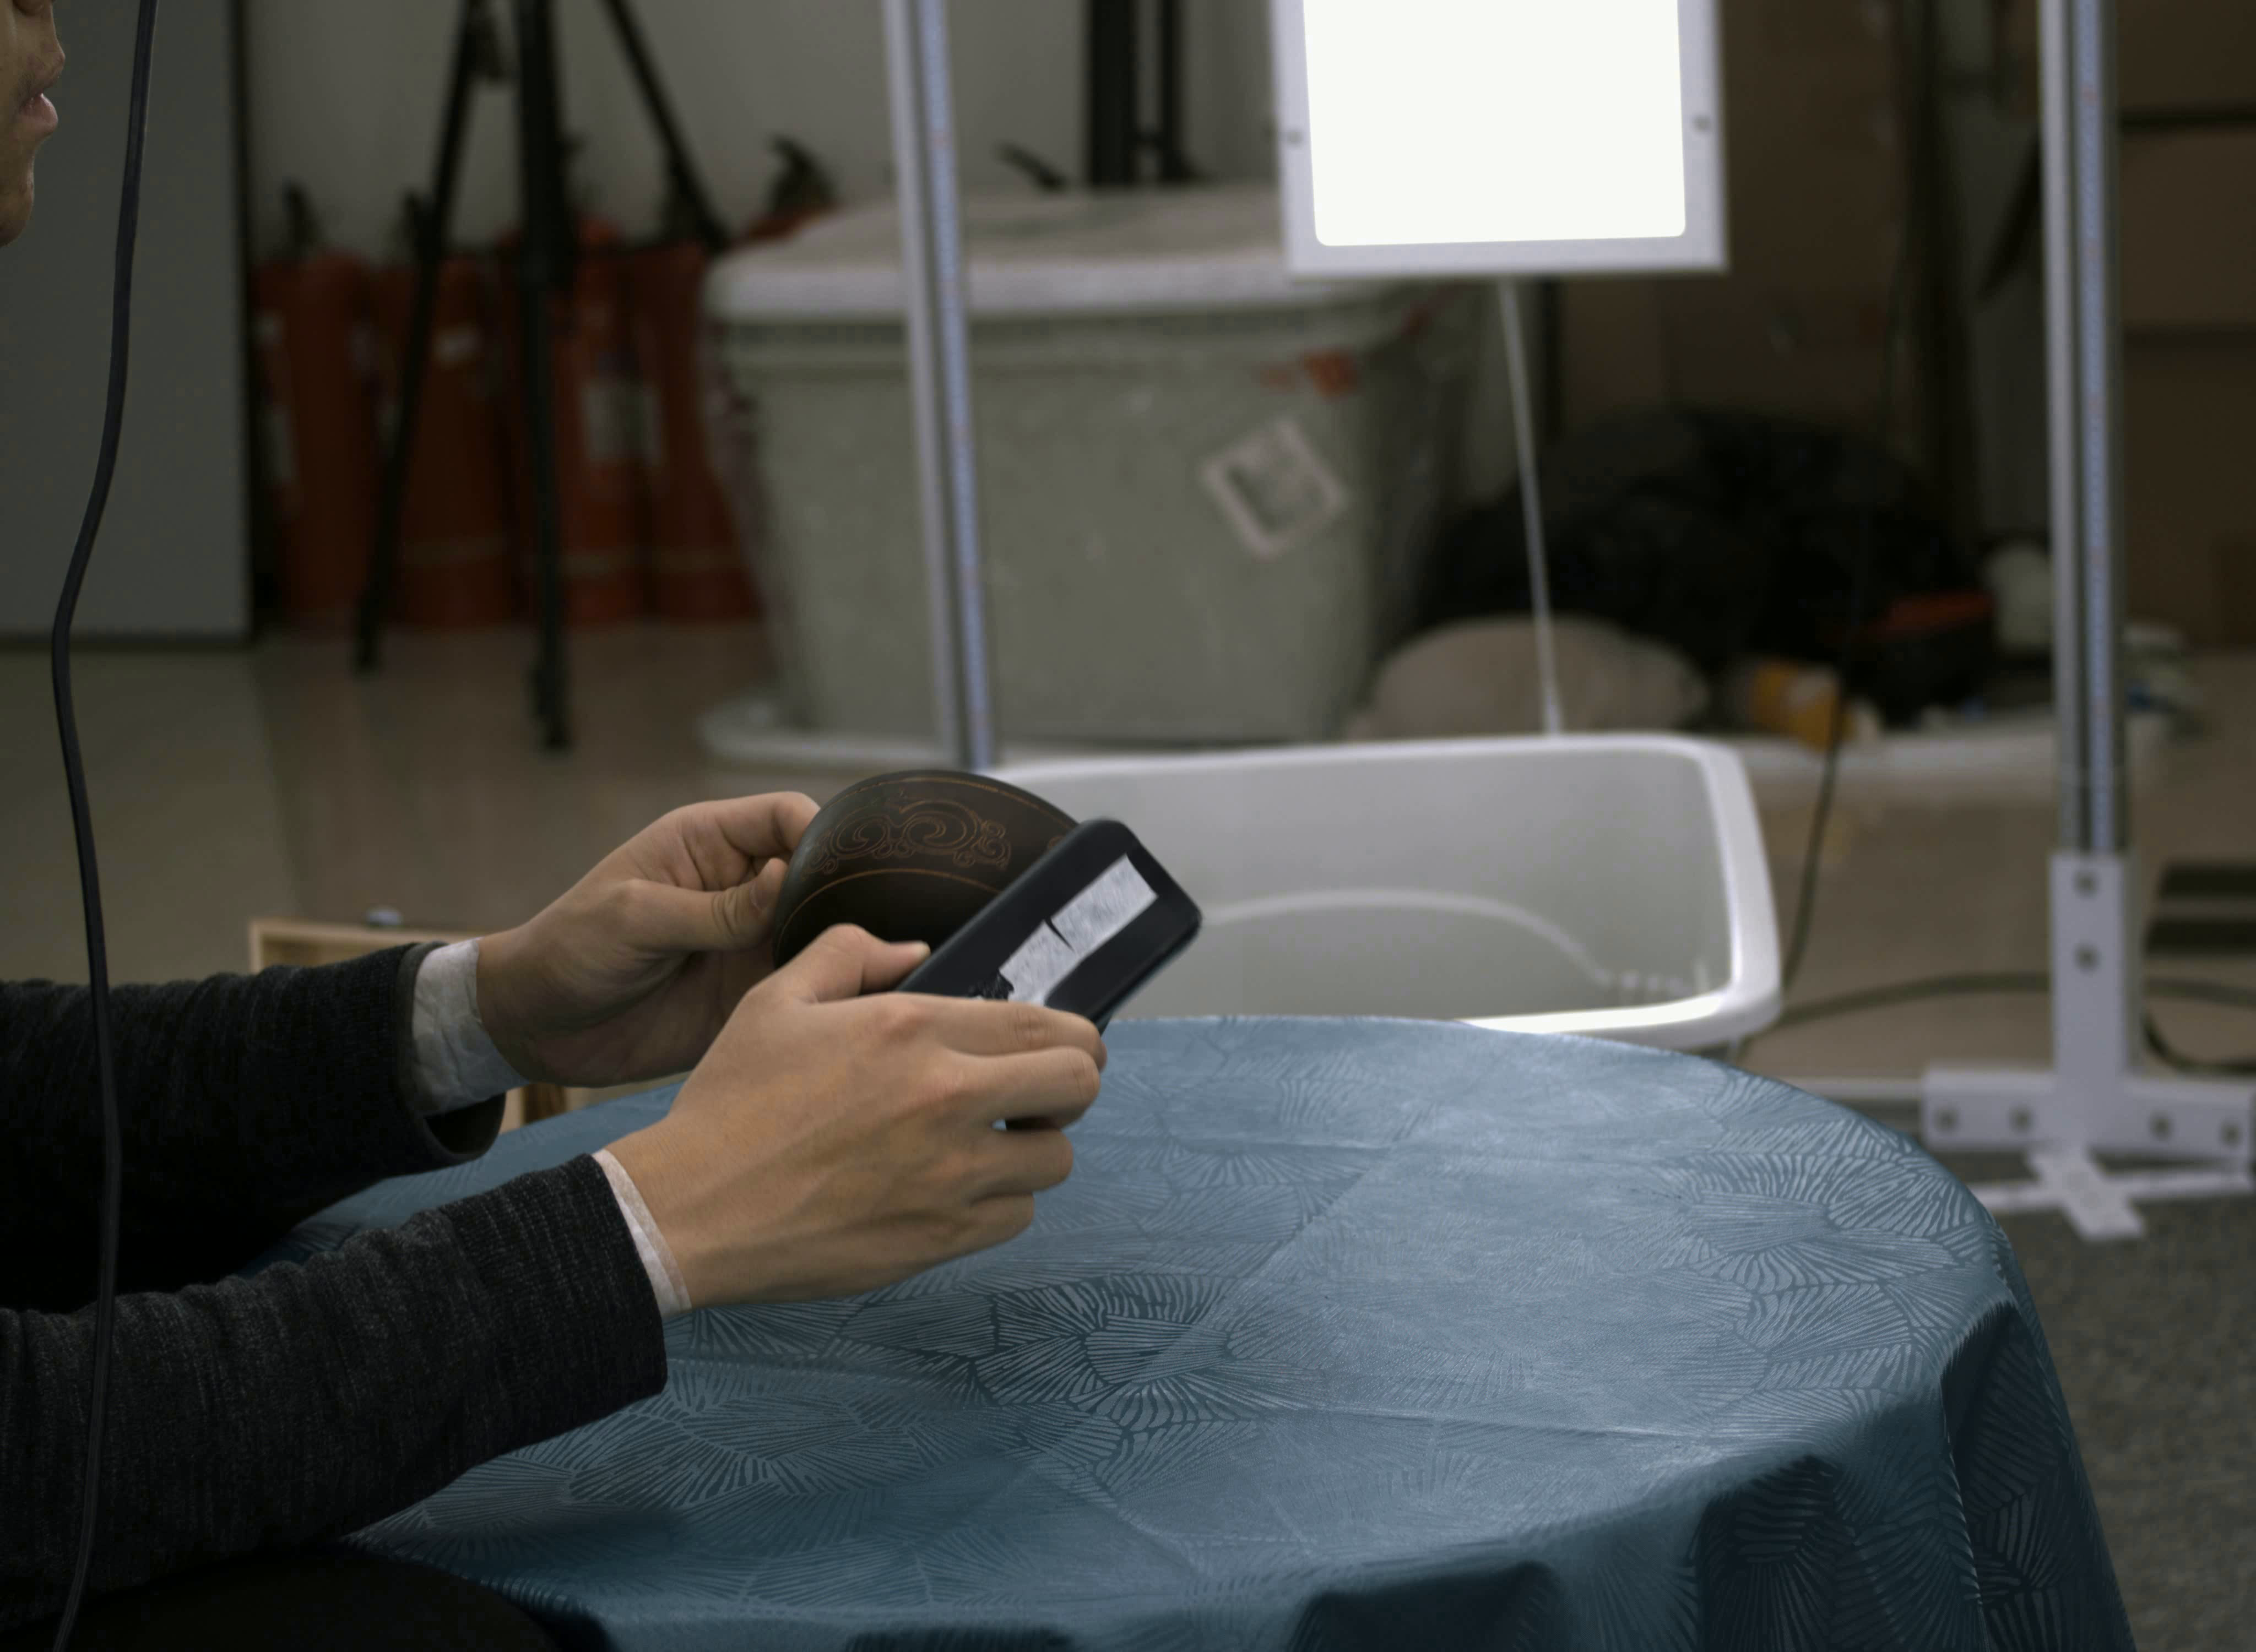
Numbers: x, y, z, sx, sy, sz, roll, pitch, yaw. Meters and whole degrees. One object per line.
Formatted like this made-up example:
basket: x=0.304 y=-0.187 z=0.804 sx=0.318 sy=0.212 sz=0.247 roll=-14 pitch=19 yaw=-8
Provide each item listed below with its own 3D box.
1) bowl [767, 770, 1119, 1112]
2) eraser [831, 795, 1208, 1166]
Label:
bowl: x=-0.061 y=0.047 z=1.777 sx=0.119 sy=0.118 sz=0.069 roll=0 pitch=42 yaw=16
eraser: x=-0.033 y=0.046 z=1.708 sx=0.123 sy=0.053 sz=0.031 roll=-44 pitch=-5 yaw=-30
